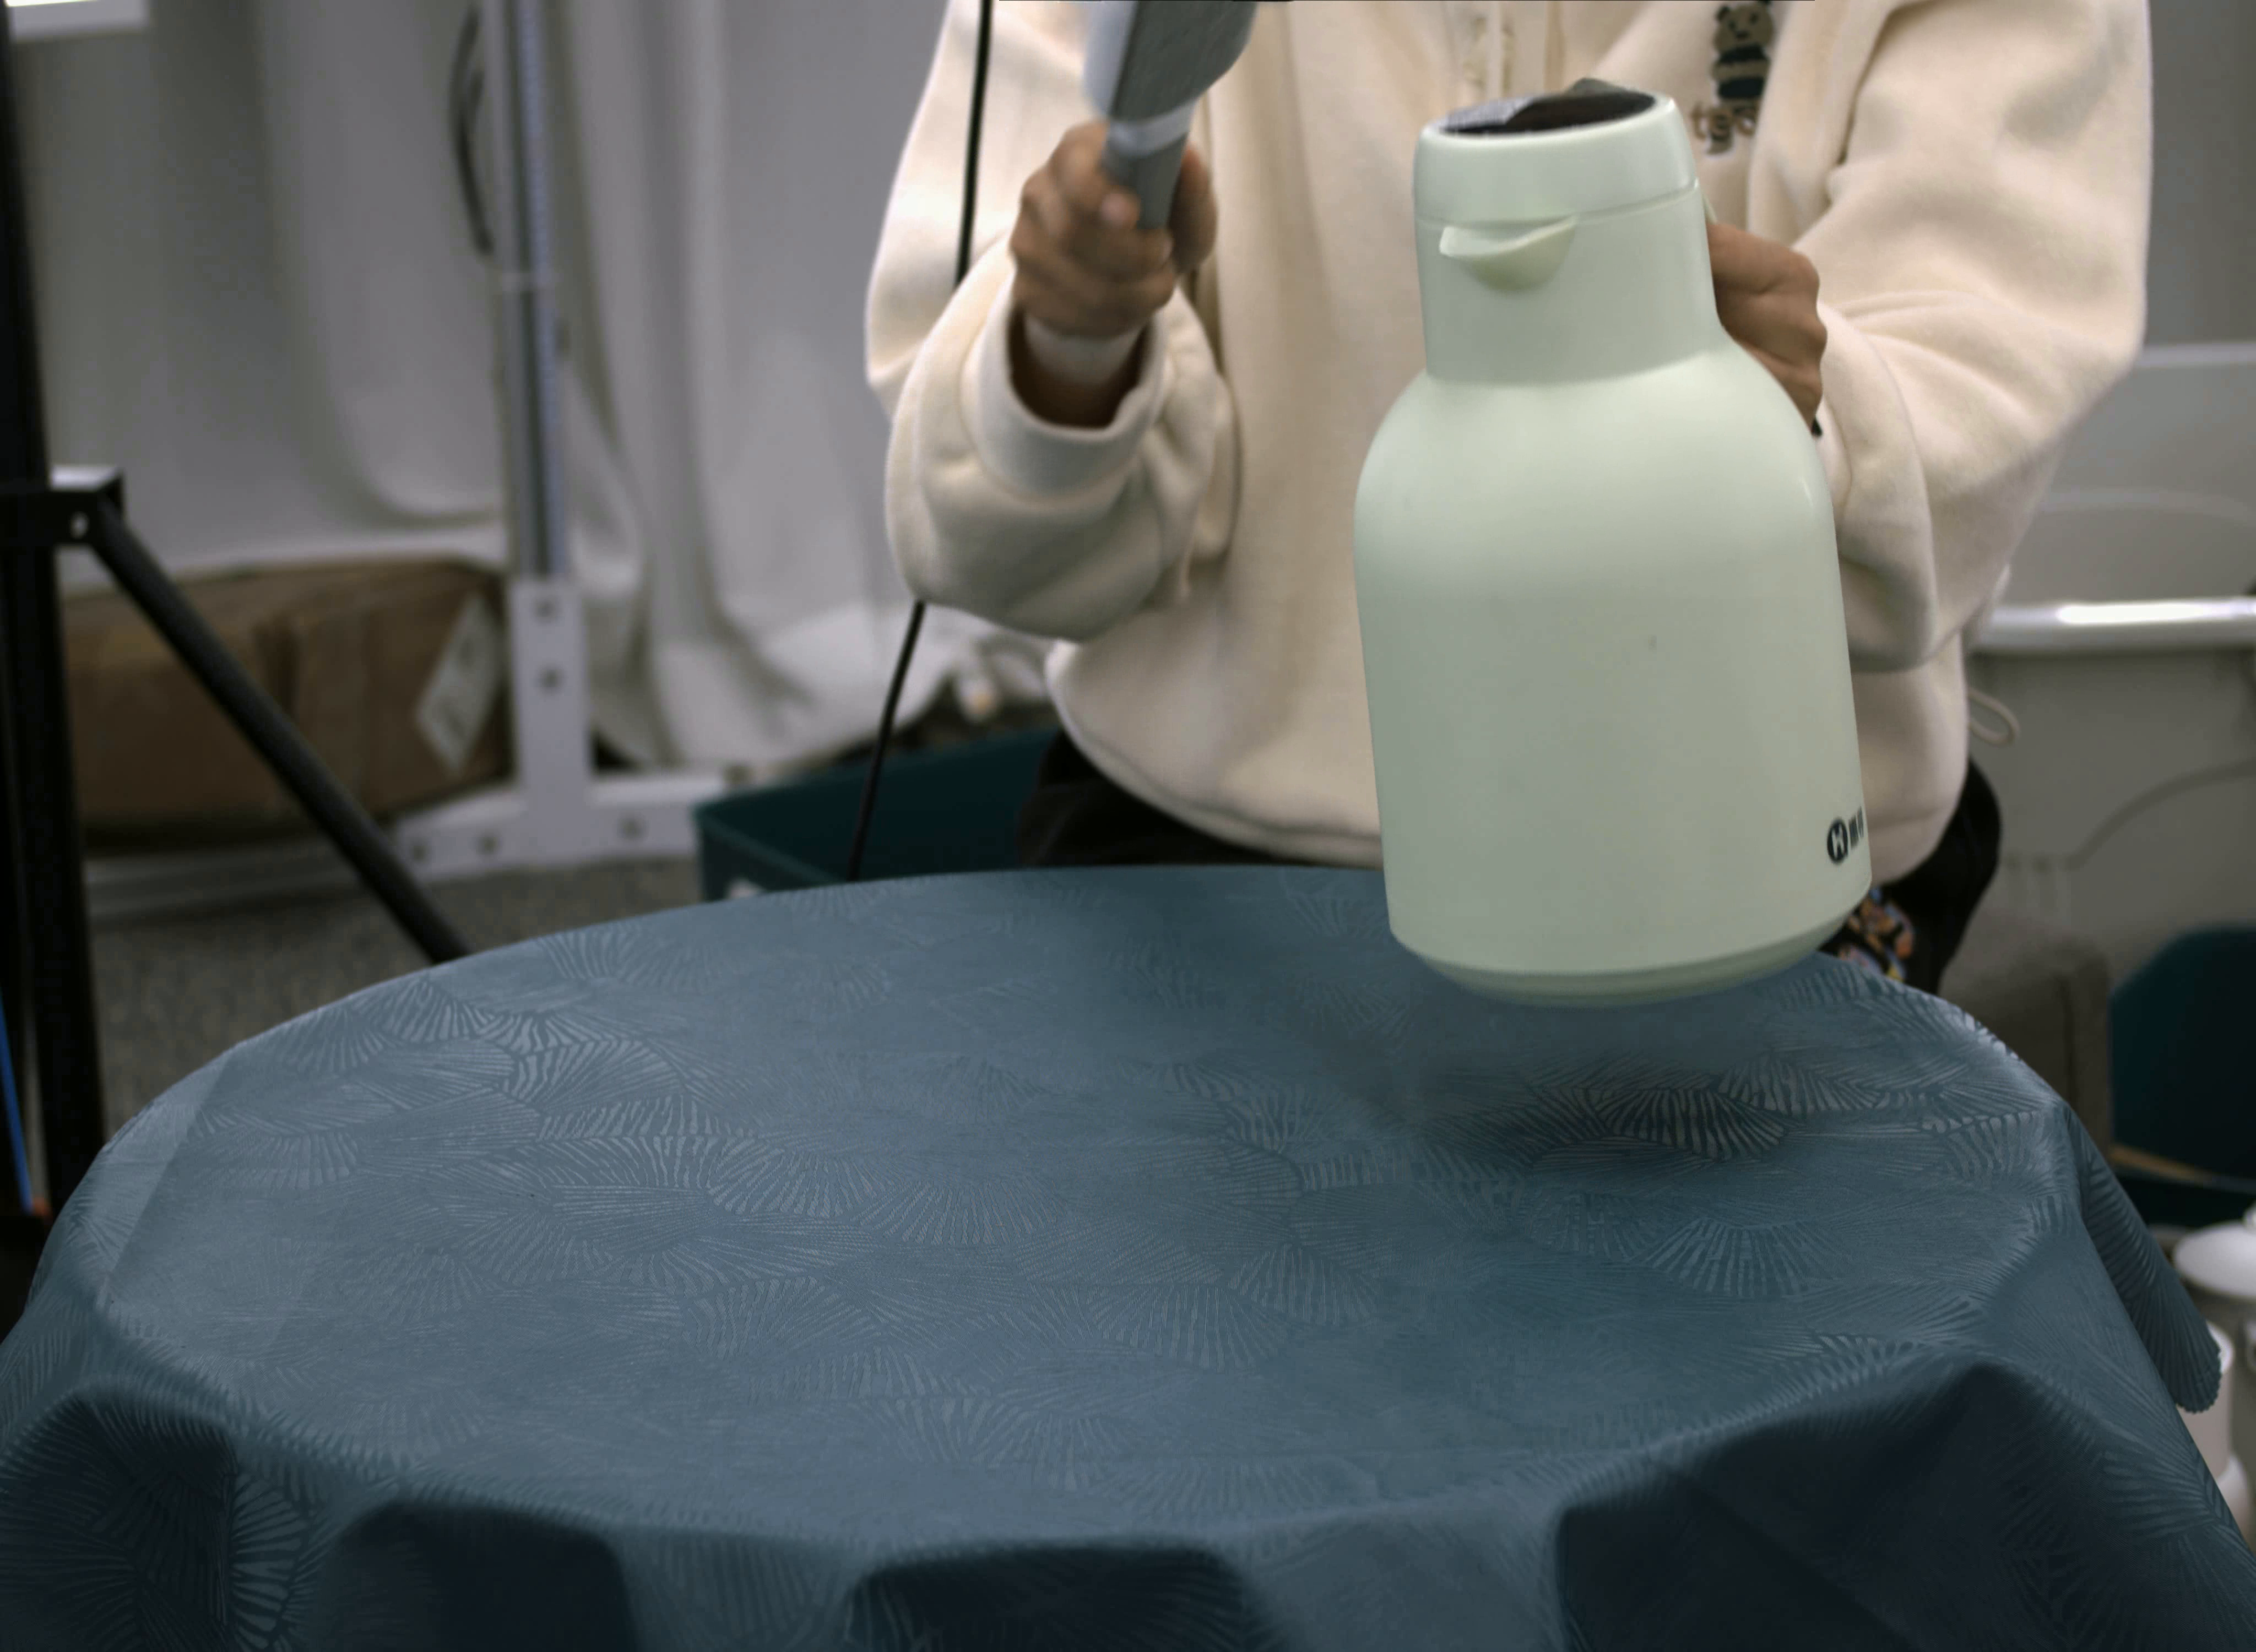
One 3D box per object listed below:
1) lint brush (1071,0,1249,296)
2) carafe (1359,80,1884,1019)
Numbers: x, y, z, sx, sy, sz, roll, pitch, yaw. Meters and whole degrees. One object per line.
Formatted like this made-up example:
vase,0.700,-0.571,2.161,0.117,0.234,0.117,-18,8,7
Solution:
lint brush,0.010,-0.236,1.657,0.059,0.021,0.308,-31,-13,-15
carafe,0.144,-0.085,1.563,0.146,0.257,0.184,-2,12,26
